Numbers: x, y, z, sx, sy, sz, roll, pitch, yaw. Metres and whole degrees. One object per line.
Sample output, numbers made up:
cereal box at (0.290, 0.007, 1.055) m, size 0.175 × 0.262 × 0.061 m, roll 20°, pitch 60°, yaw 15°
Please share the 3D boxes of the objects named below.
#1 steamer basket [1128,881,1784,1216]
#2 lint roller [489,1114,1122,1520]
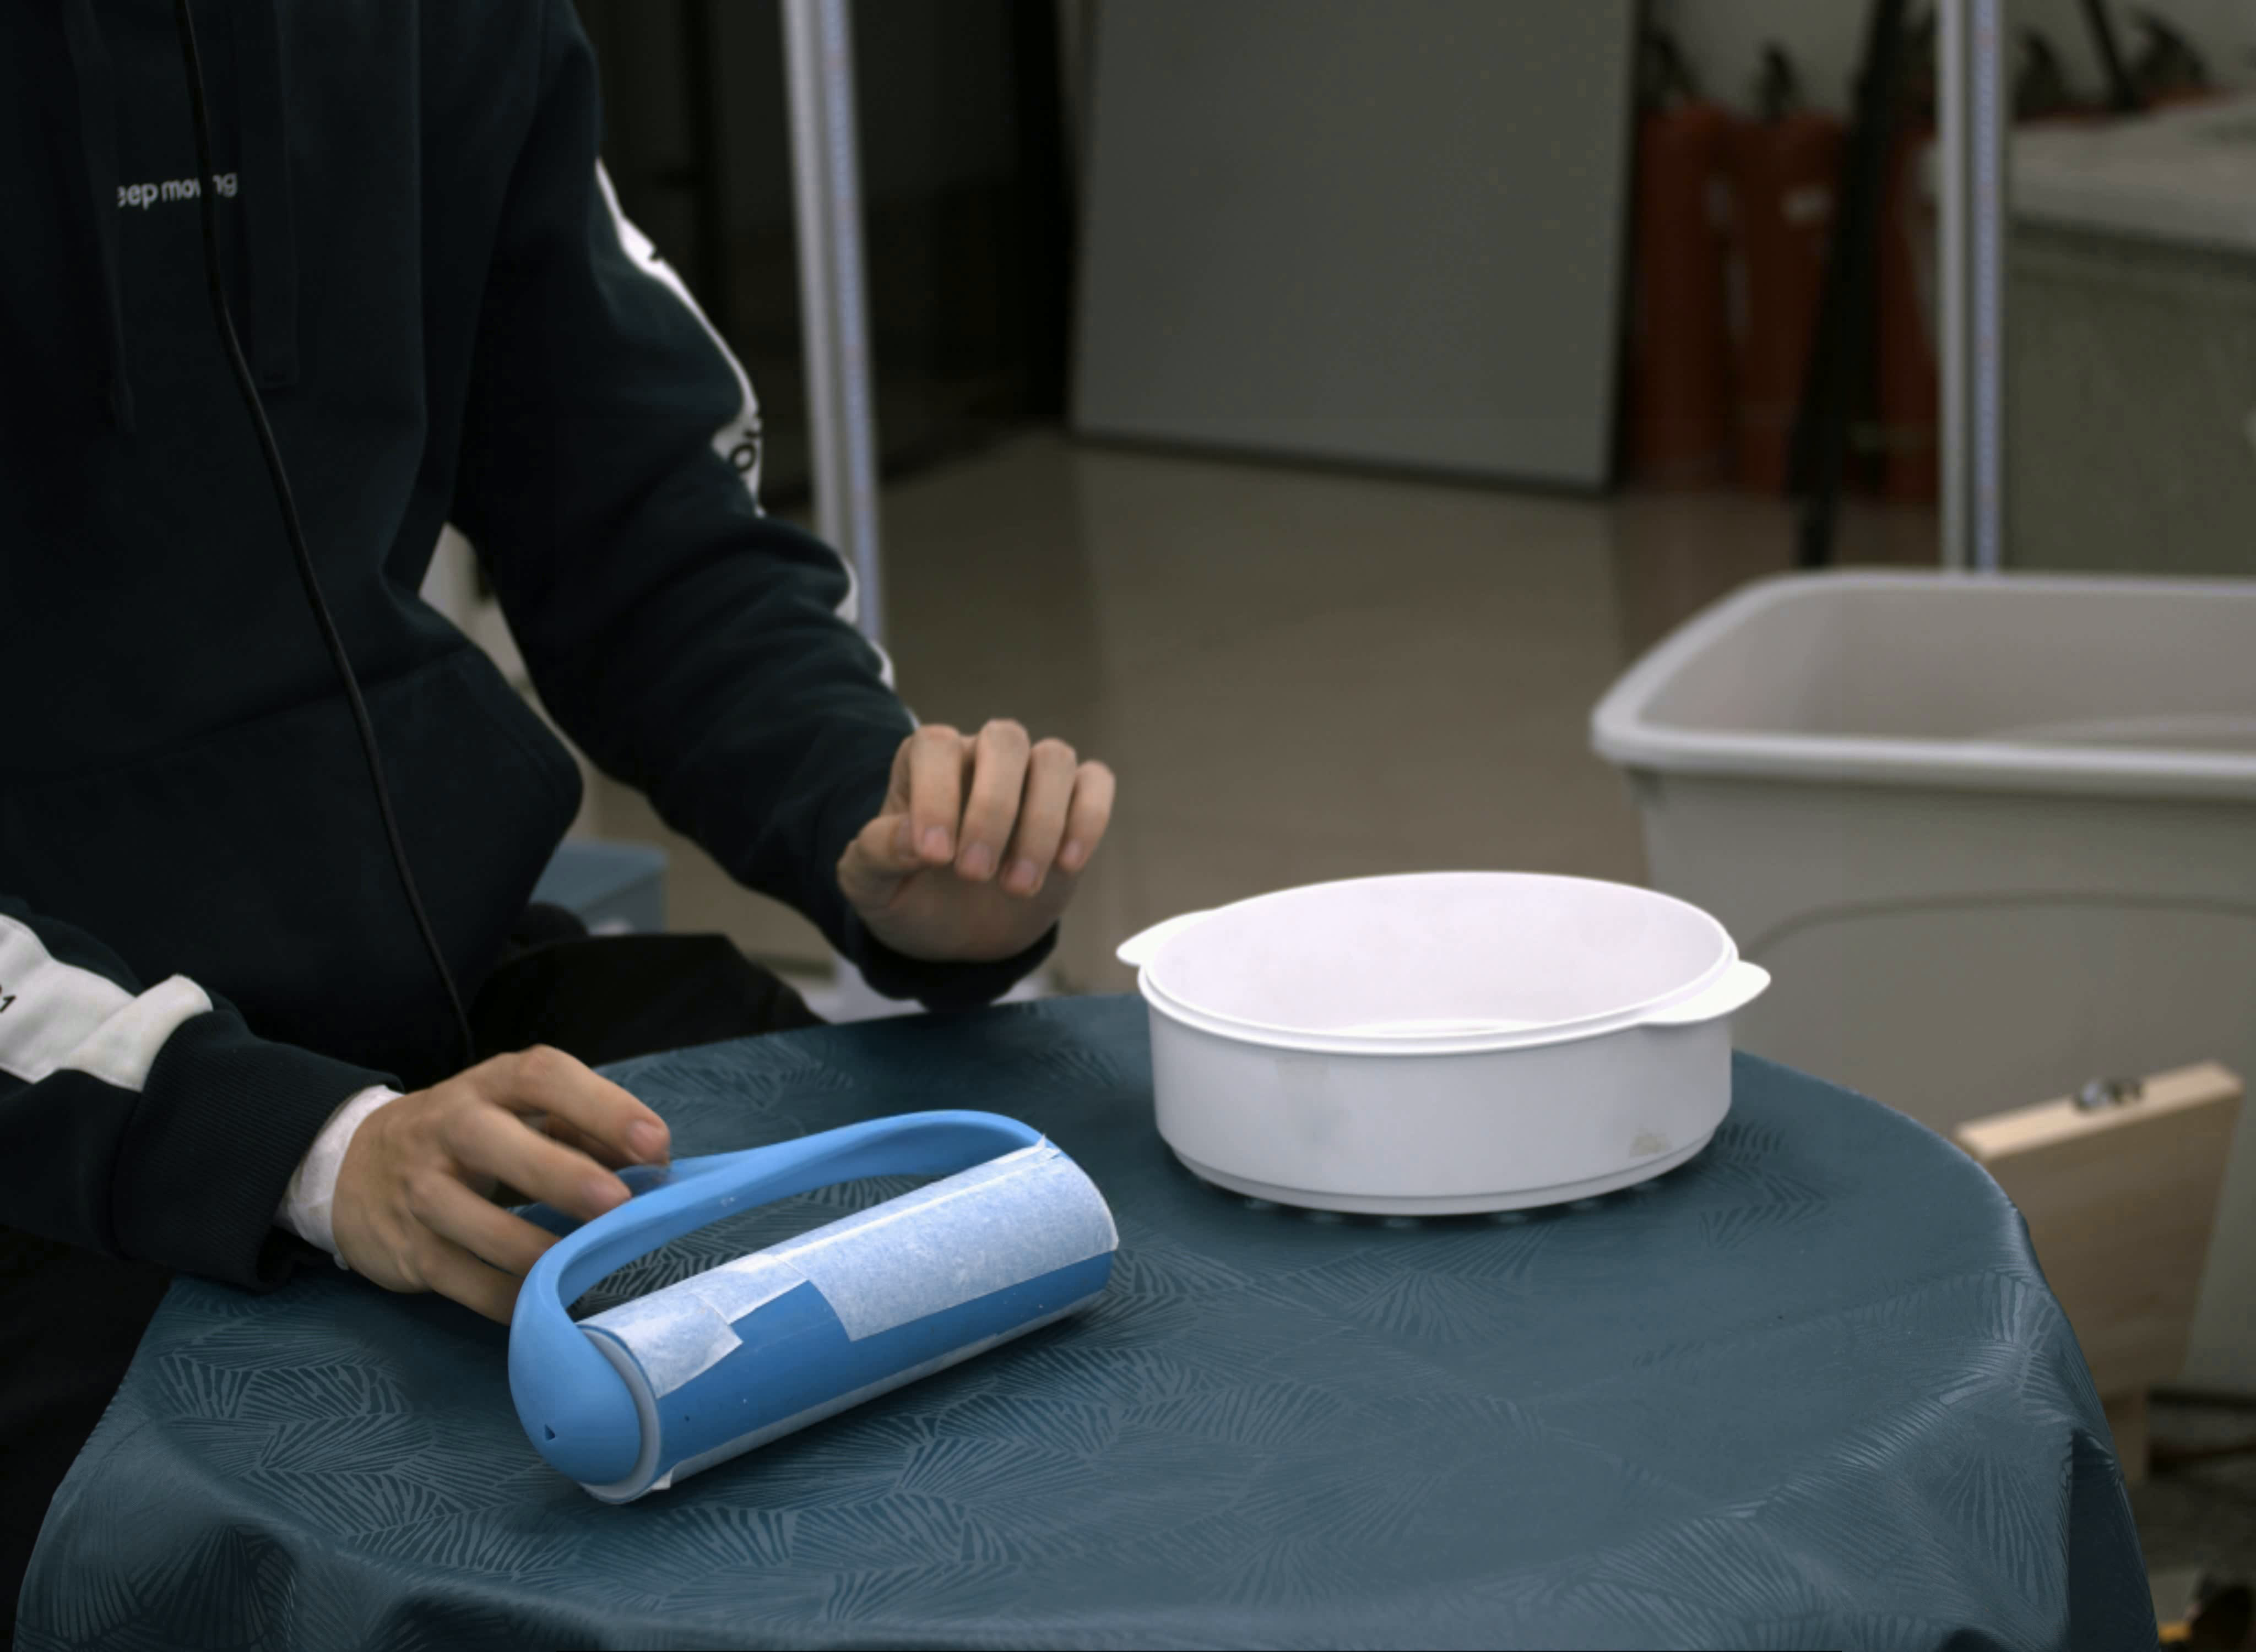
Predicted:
steamer basket at (0.108, 0.074, 1.789) m, size 0.231 × 0.070 × 0.198 m, roll 4°, pitch 15°, yaw 32°
lint roller at (-0.128, 0.136, 1.623) m, size 0.181 × 0.068 × 0.225 m, roll 11°, pitch 22°, yaw 37°
